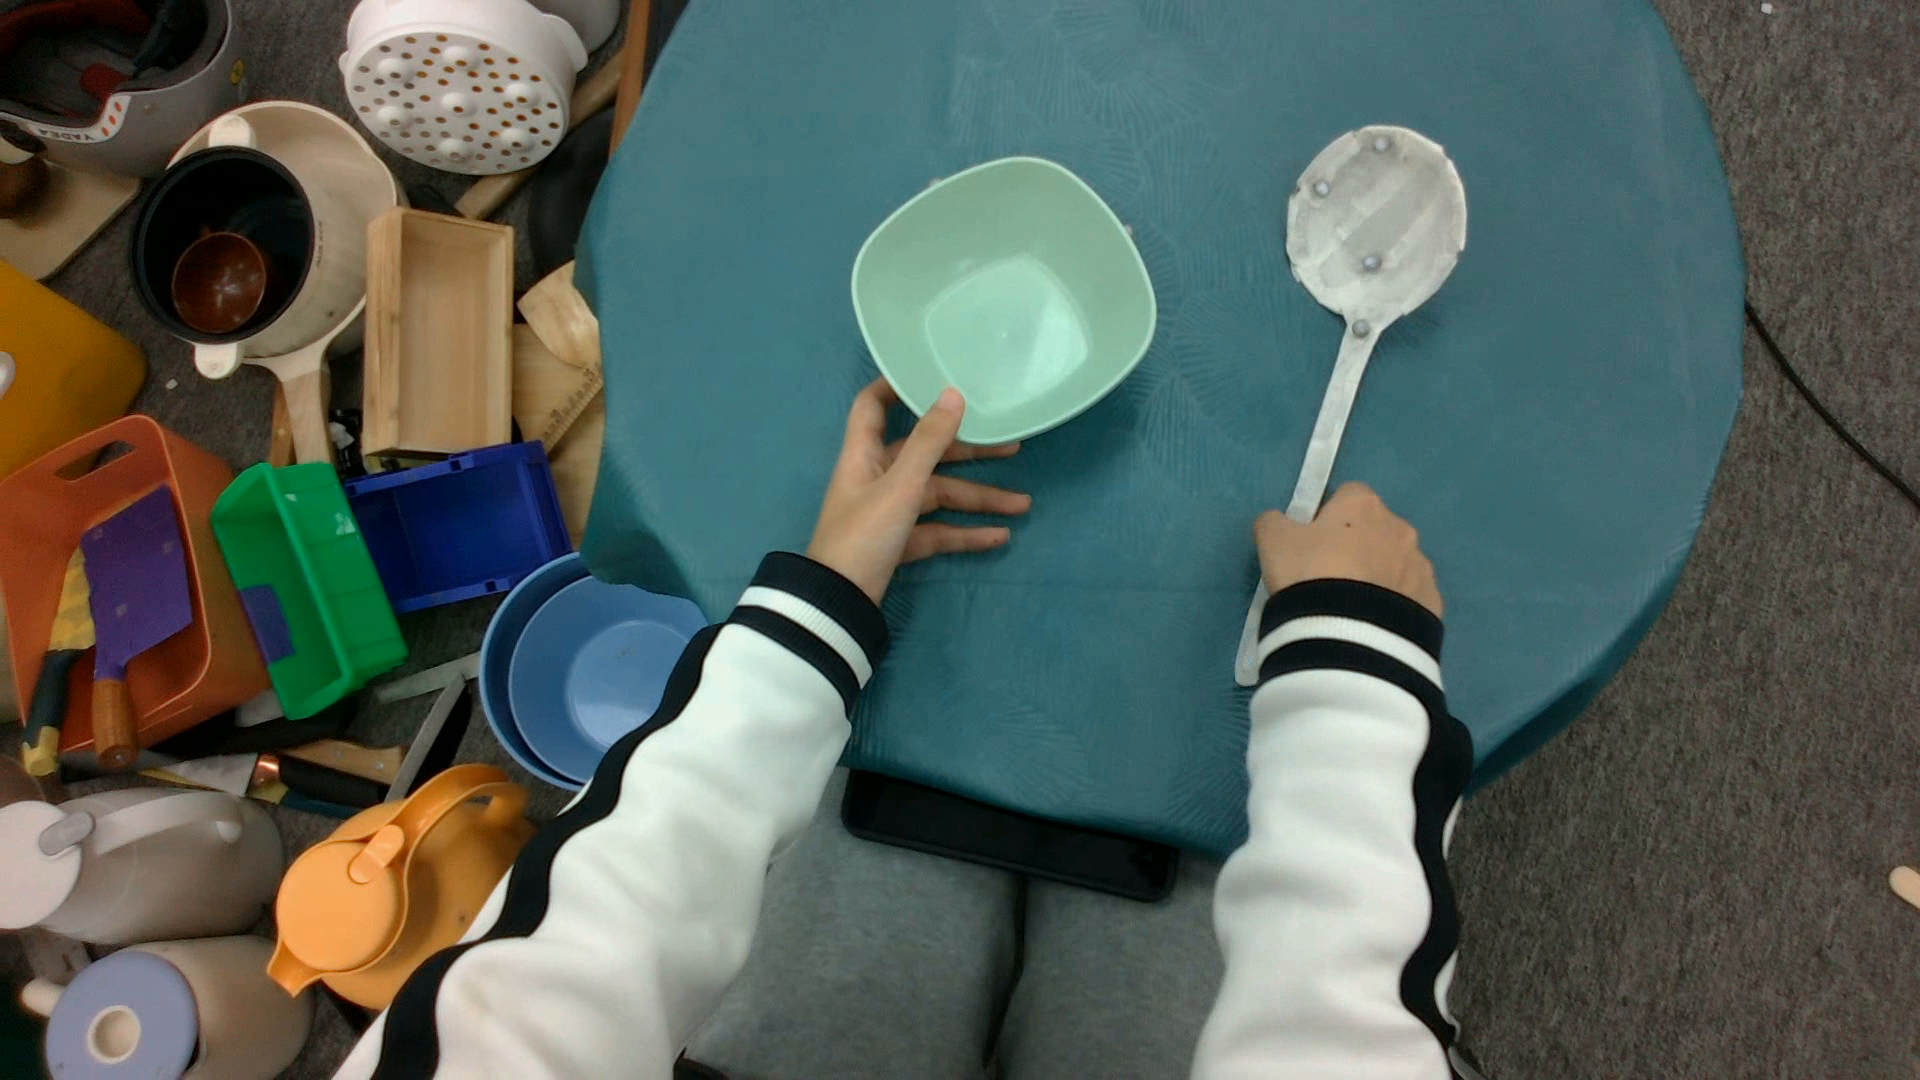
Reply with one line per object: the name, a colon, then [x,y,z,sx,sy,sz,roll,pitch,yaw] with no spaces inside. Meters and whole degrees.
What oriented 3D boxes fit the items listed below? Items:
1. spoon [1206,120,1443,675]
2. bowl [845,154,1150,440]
spoon: [0.158,-0.071,0.675,0.100,0.059,0.278,13,76,48]
bowl: [0.019,-0.114,0.697,0.151,0.058,0.152,-1,76,4]
